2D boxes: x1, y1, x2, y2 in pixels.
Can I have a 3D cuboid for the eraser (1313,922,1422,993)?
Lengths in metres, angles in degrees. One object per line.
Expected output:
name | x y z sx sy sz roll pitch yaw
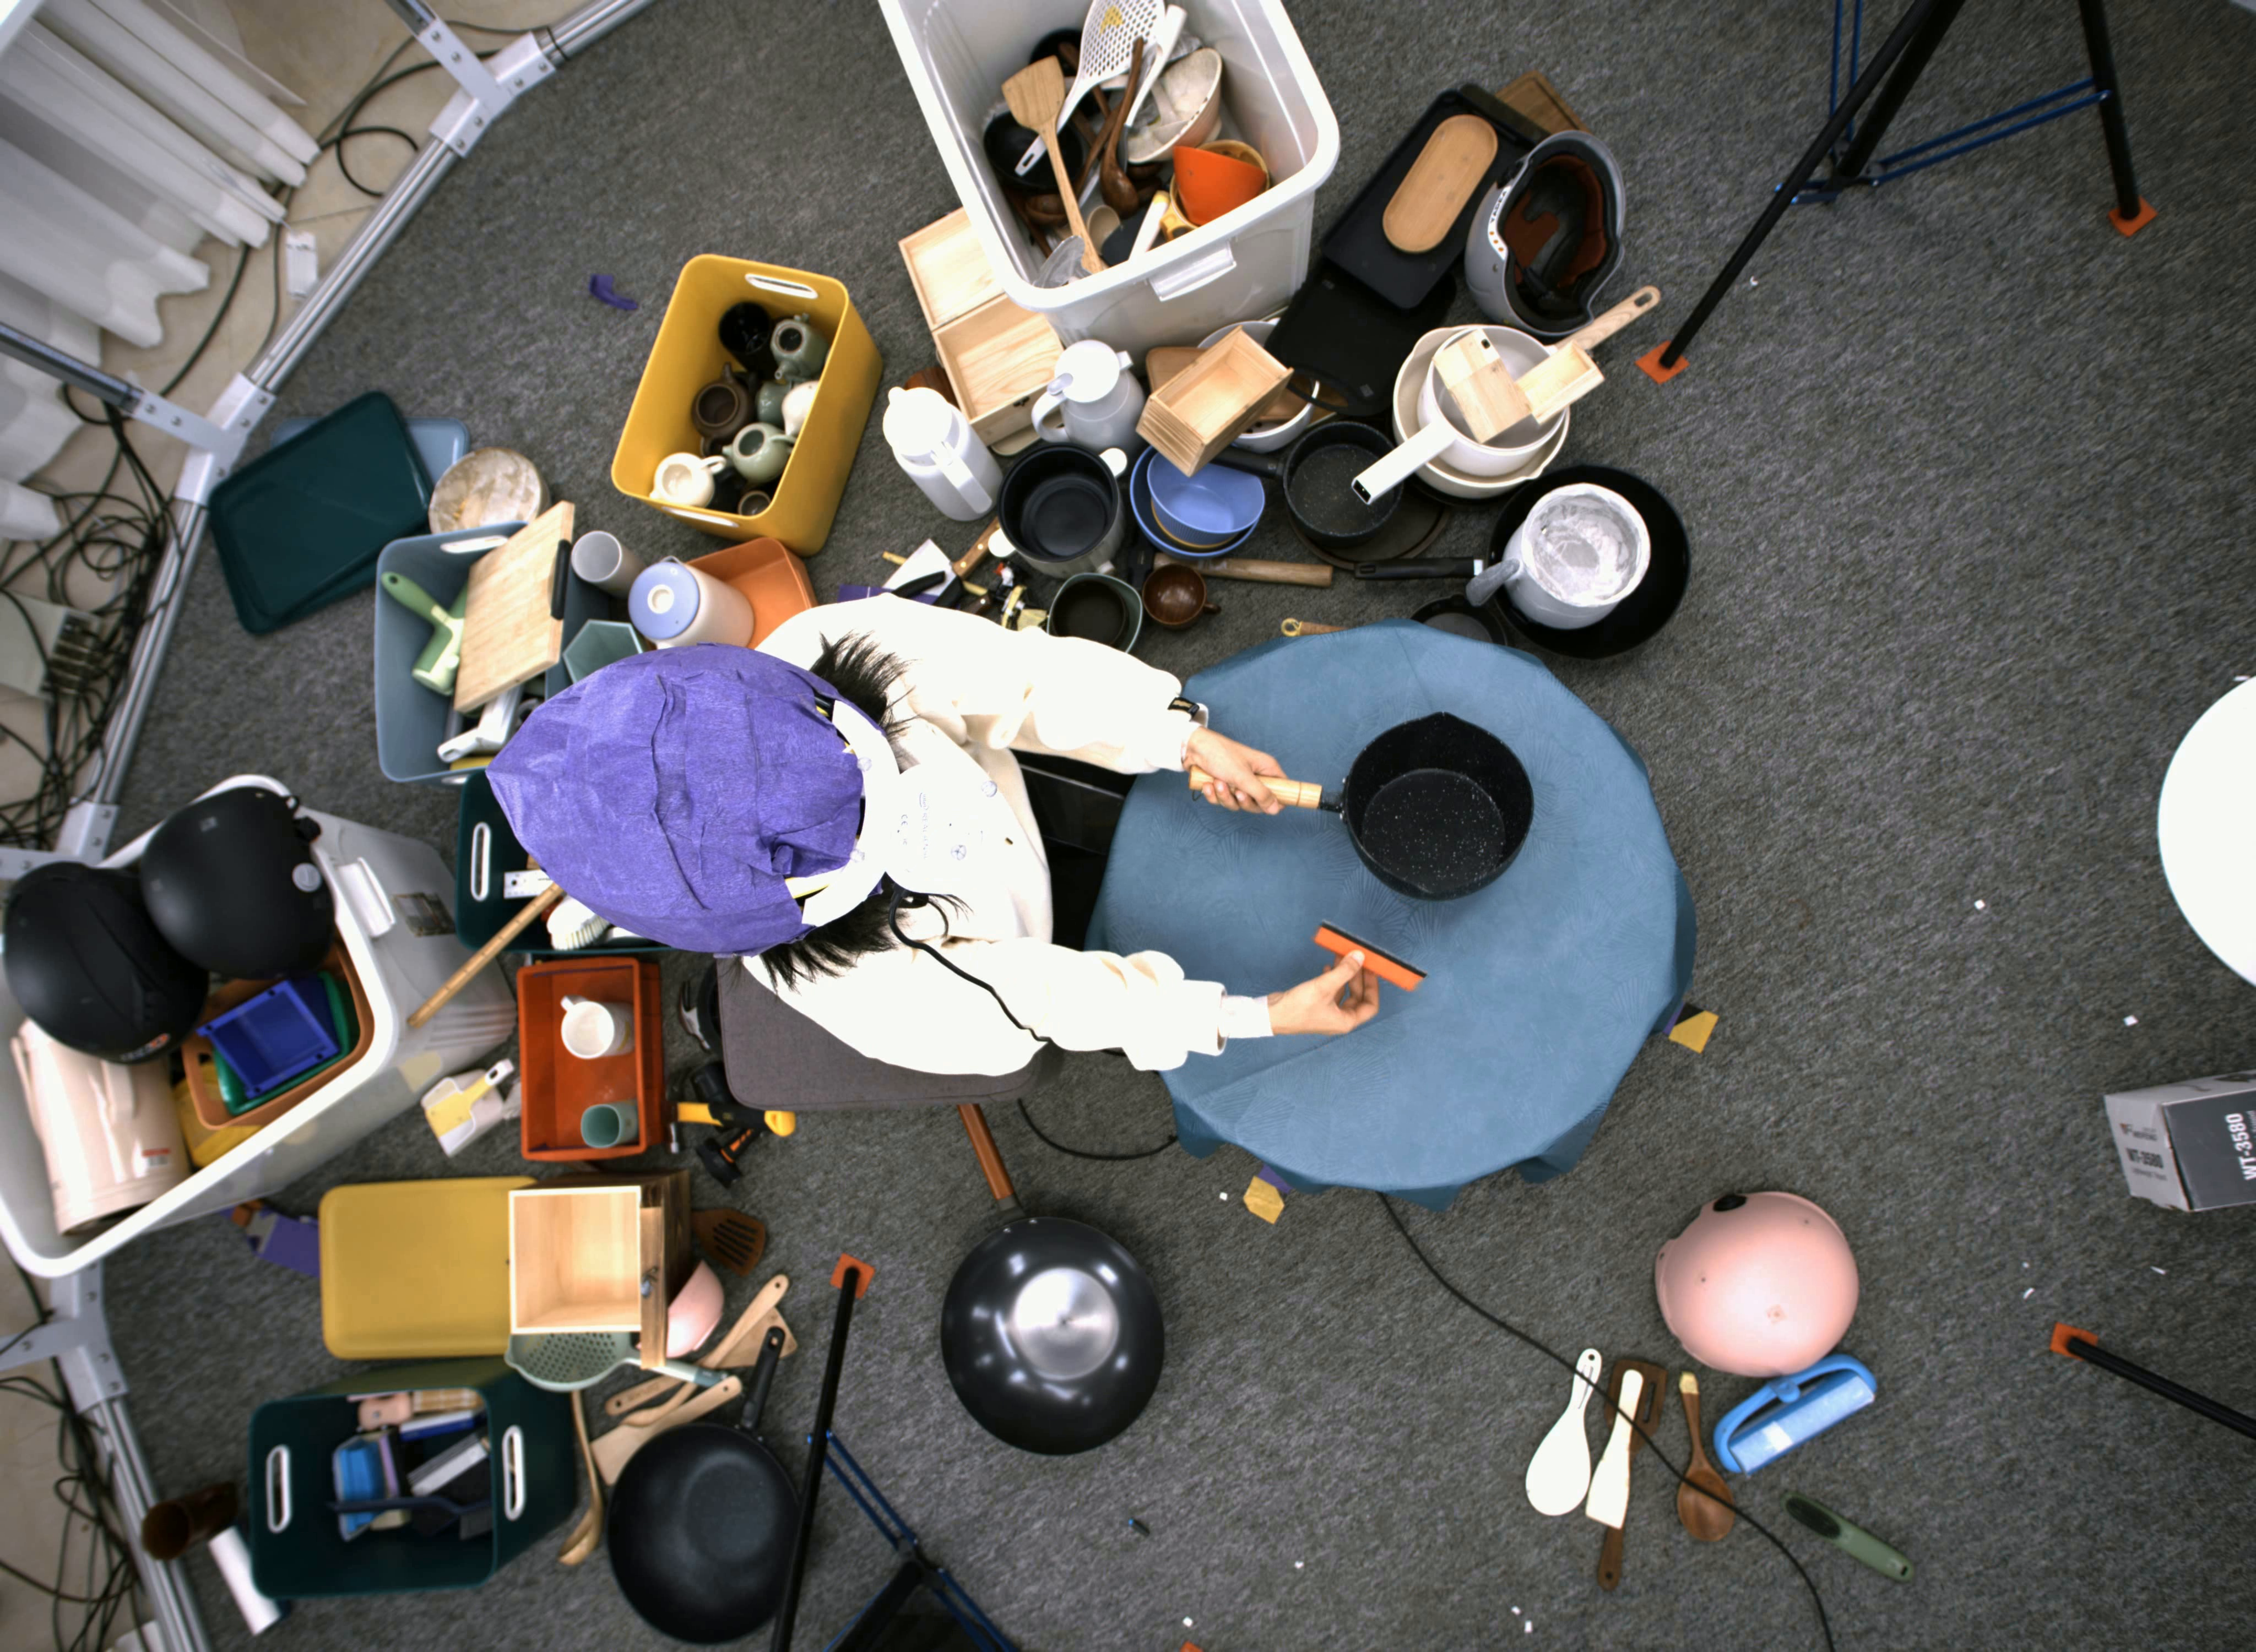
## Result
eraser | 0.234 0.128 1.357 0.108 0.059 0.023 26 86 12

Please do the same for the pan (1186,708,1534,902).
pan | 0.231 -0.019 1.396 0.344 0.110 0.204 4 70 8
